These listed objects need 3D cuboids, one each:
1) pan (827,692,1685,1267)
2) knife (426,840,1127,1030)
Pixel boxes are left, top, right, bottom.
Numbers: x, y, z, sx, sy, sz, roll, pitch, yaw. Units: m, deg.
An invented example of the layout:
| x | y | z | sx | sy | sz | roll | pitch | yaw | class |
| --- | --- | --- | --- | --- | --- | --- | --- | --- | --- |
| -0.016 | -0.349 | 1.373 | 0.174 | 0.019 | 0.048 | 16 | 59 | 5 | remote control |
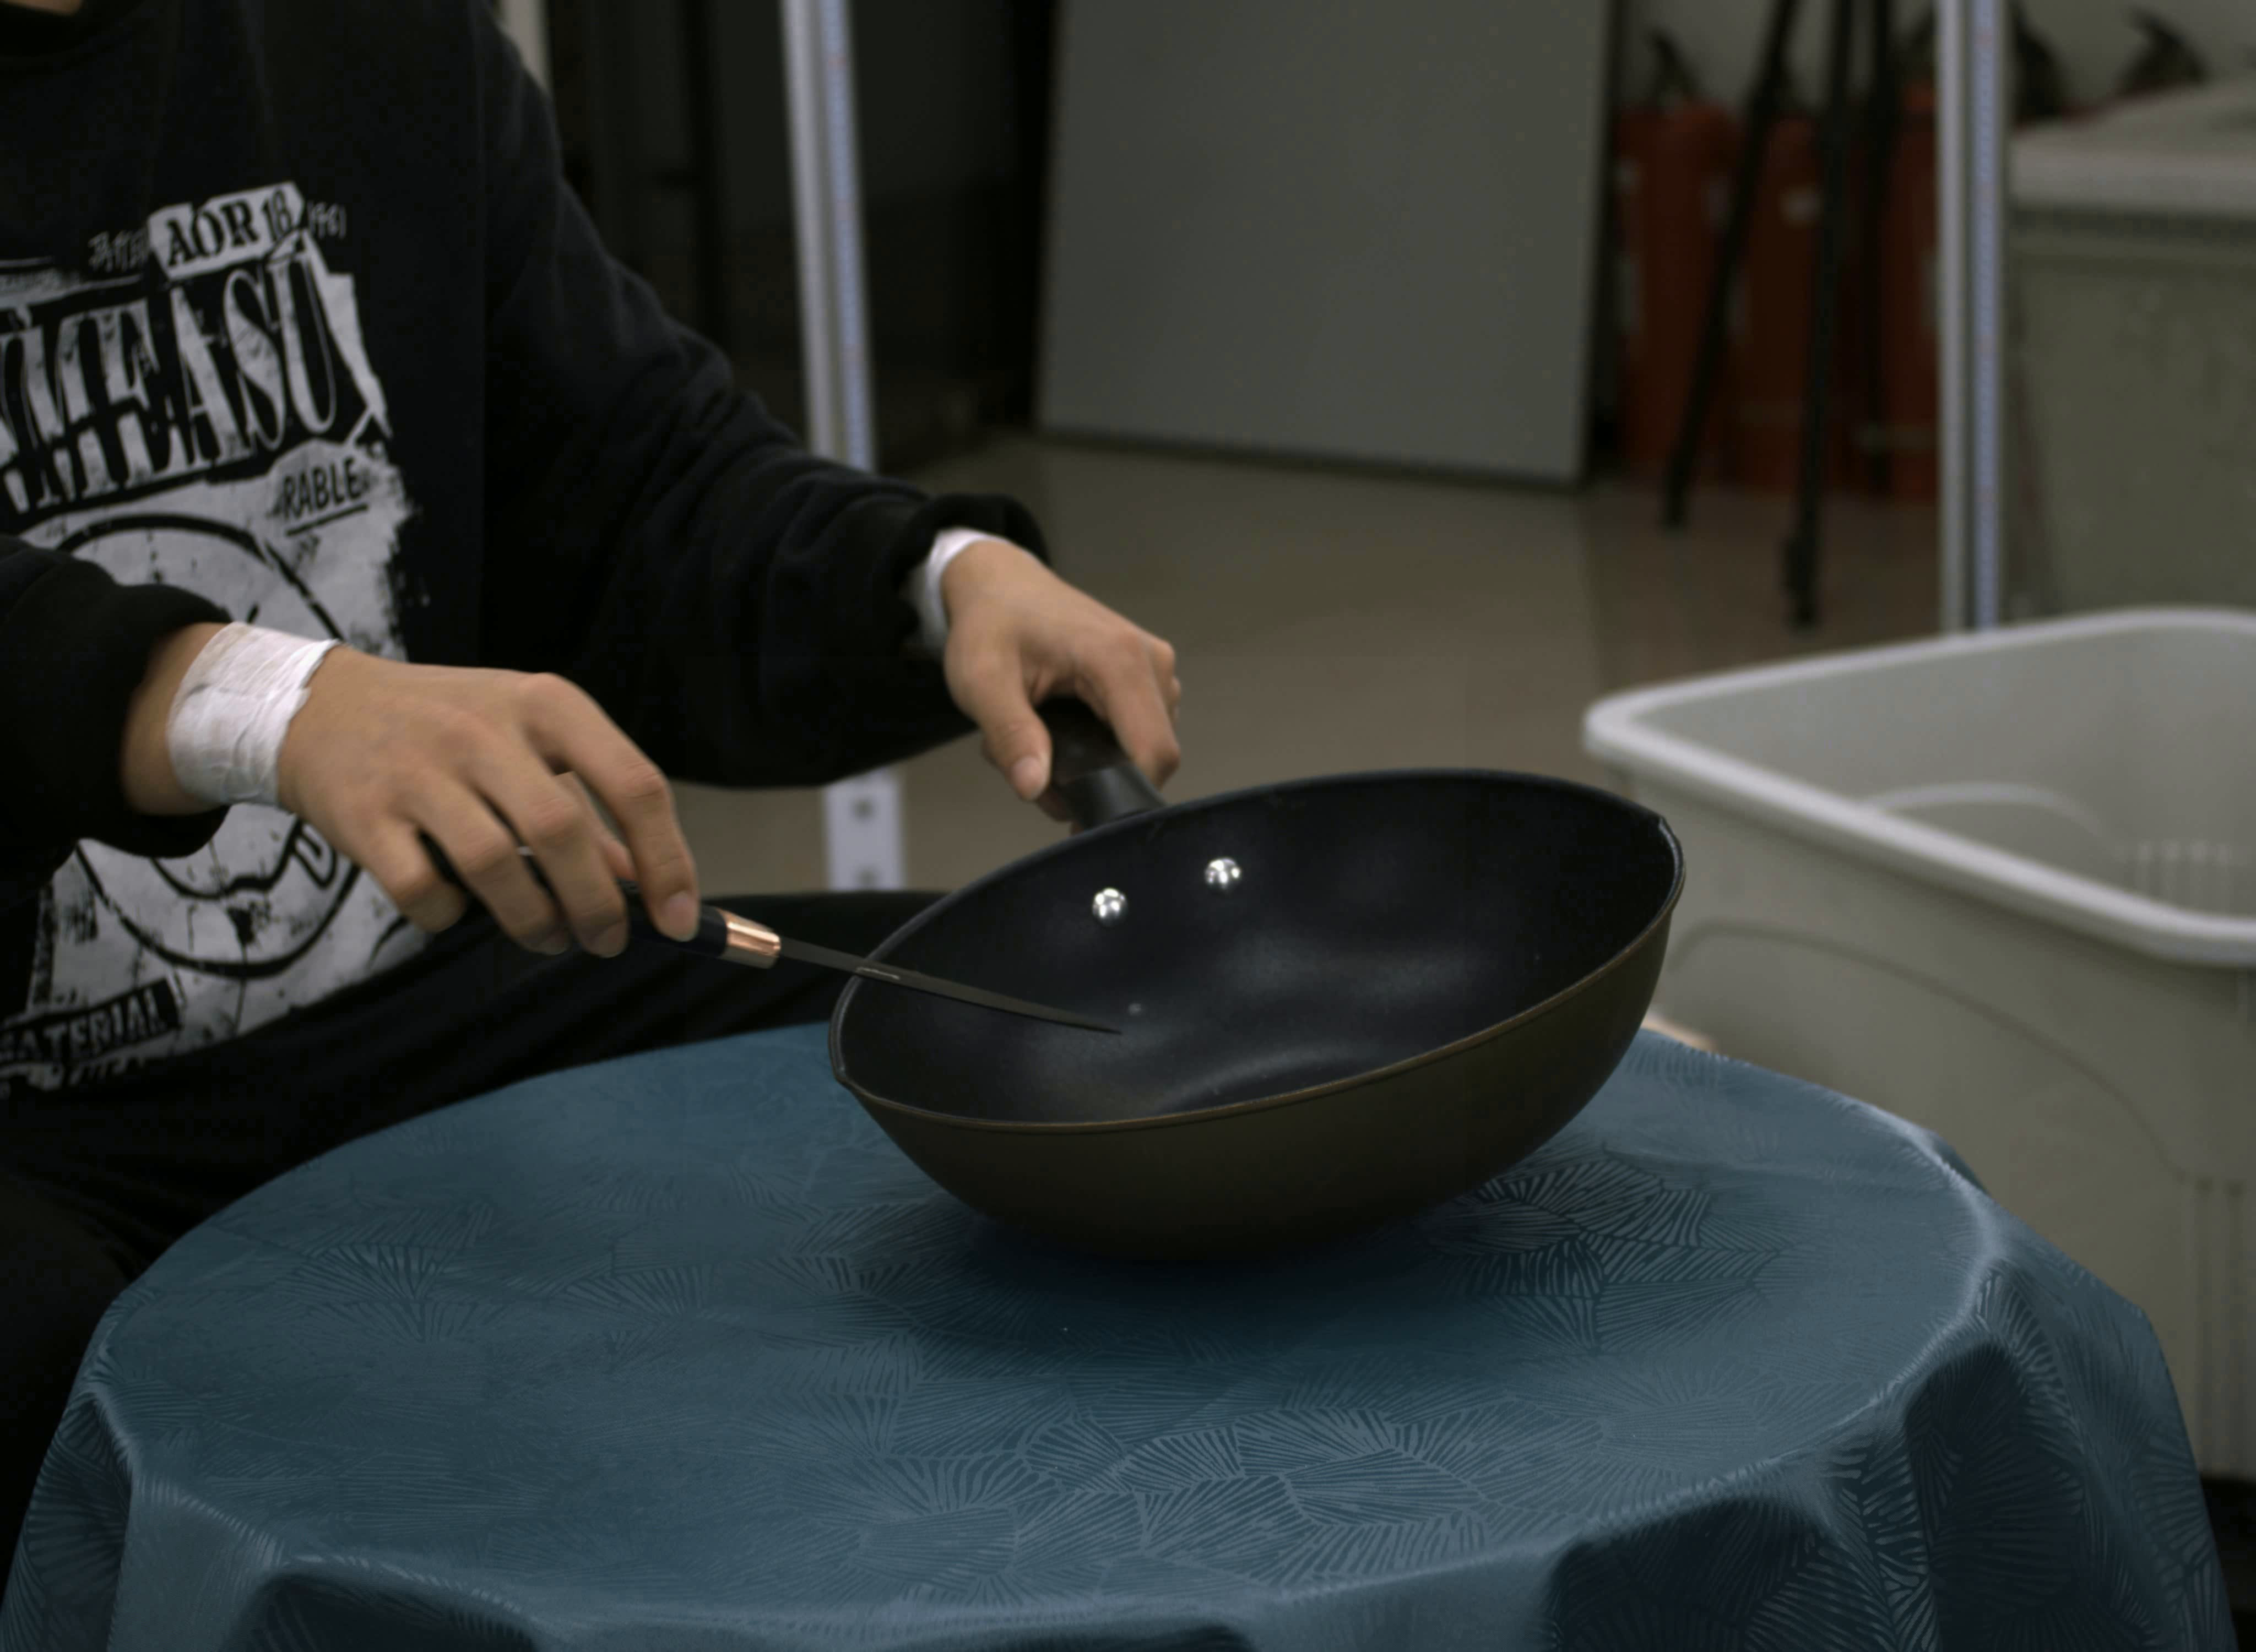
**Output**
| x | y | z | sx | sy | sz | roll | pitch | yaw | class |
| --- | --- | --- | --- | --- | --- | --- | --- | --- | --- |
| 0.025 | 0.047 | 1.827 | 0.284 | 0.087 | 0.467 | -17 | 18 | -9 | pan |
| -0.104 | 0.036 | 1.639 | 0.221 | 0.017 | 0.026 | 14 | 5 | -11 | knife |
